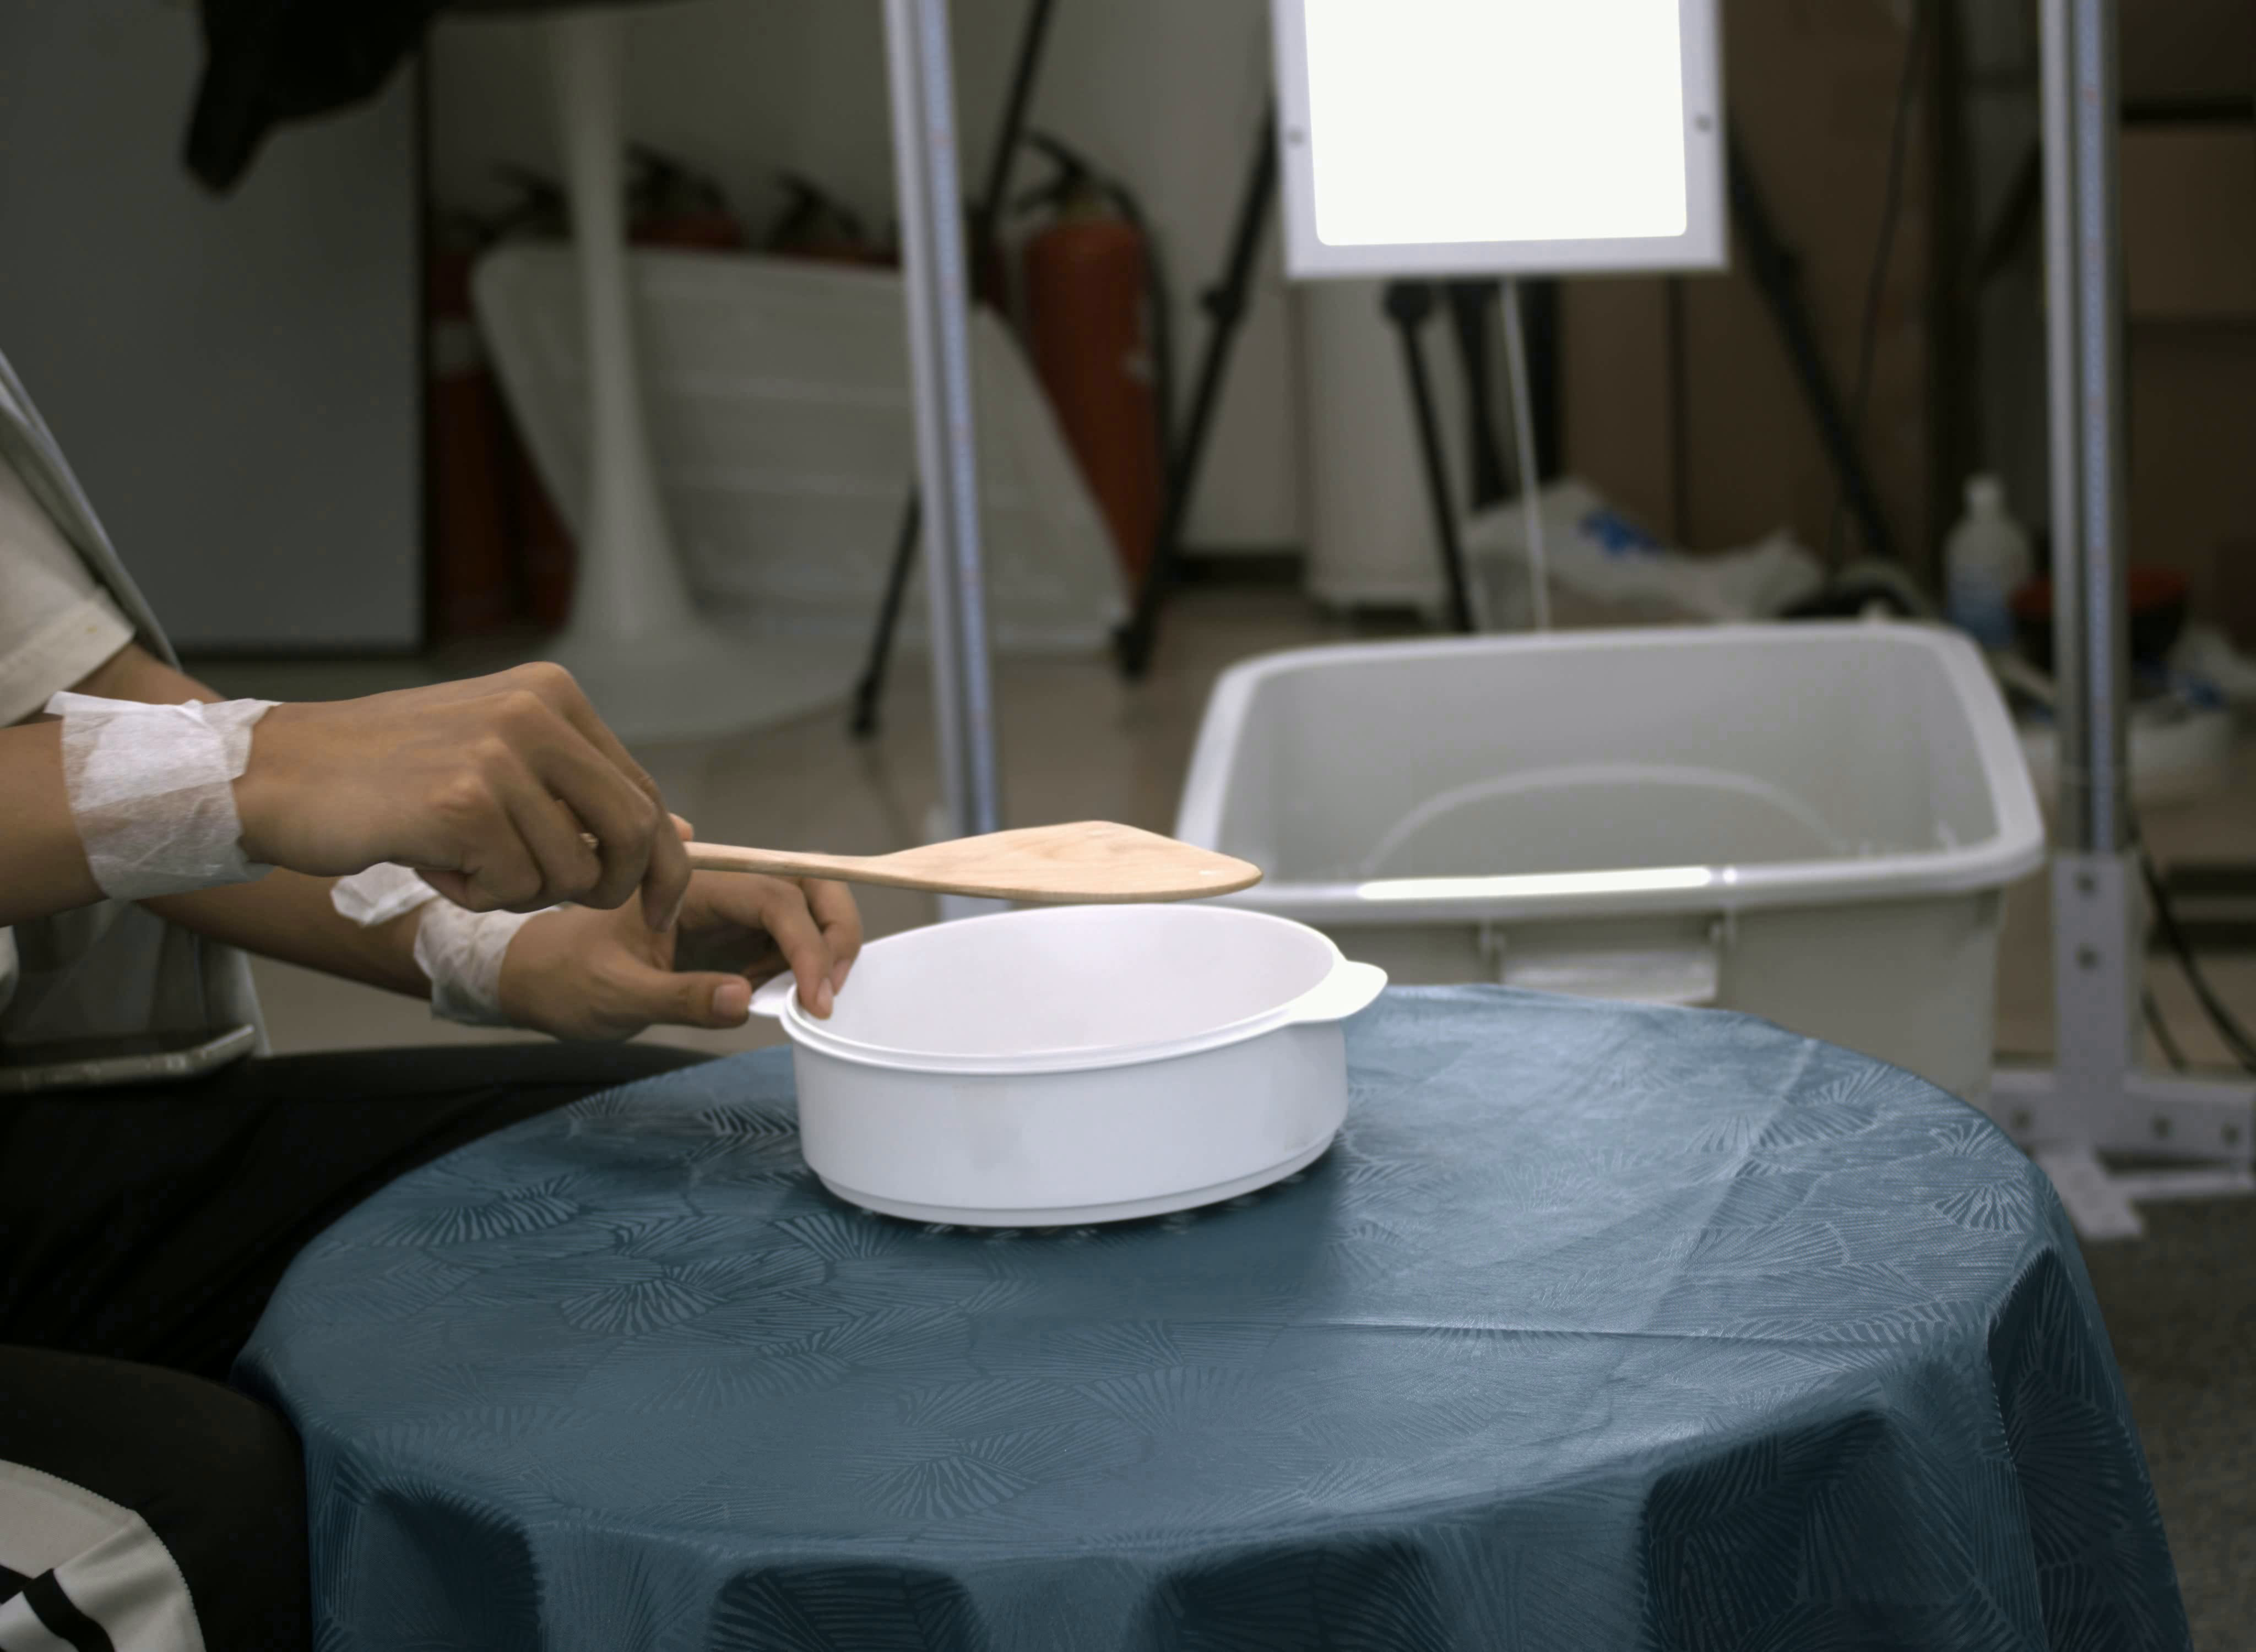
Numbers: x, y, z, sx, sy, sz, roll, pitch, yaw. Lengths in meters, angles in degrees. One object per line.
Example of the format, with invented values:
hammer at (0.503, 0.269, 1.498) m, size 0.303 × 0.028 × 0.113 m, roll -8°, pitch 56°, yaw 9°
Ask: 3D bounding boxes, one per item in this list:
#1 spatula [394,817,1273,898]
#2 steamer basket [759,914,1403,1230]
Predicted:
spatula at (-0.097, 0.007, 1.783) m, size 0.319 × 0.016 × 0.081 m, roll 2°, pitch 13°, yaw -39°
steamer basket at (-0.015, 0.086, 1.932) m, size 0.233 × 0.069 × 0.198 m, roll -1°, pitch 13°, yaw 20°
